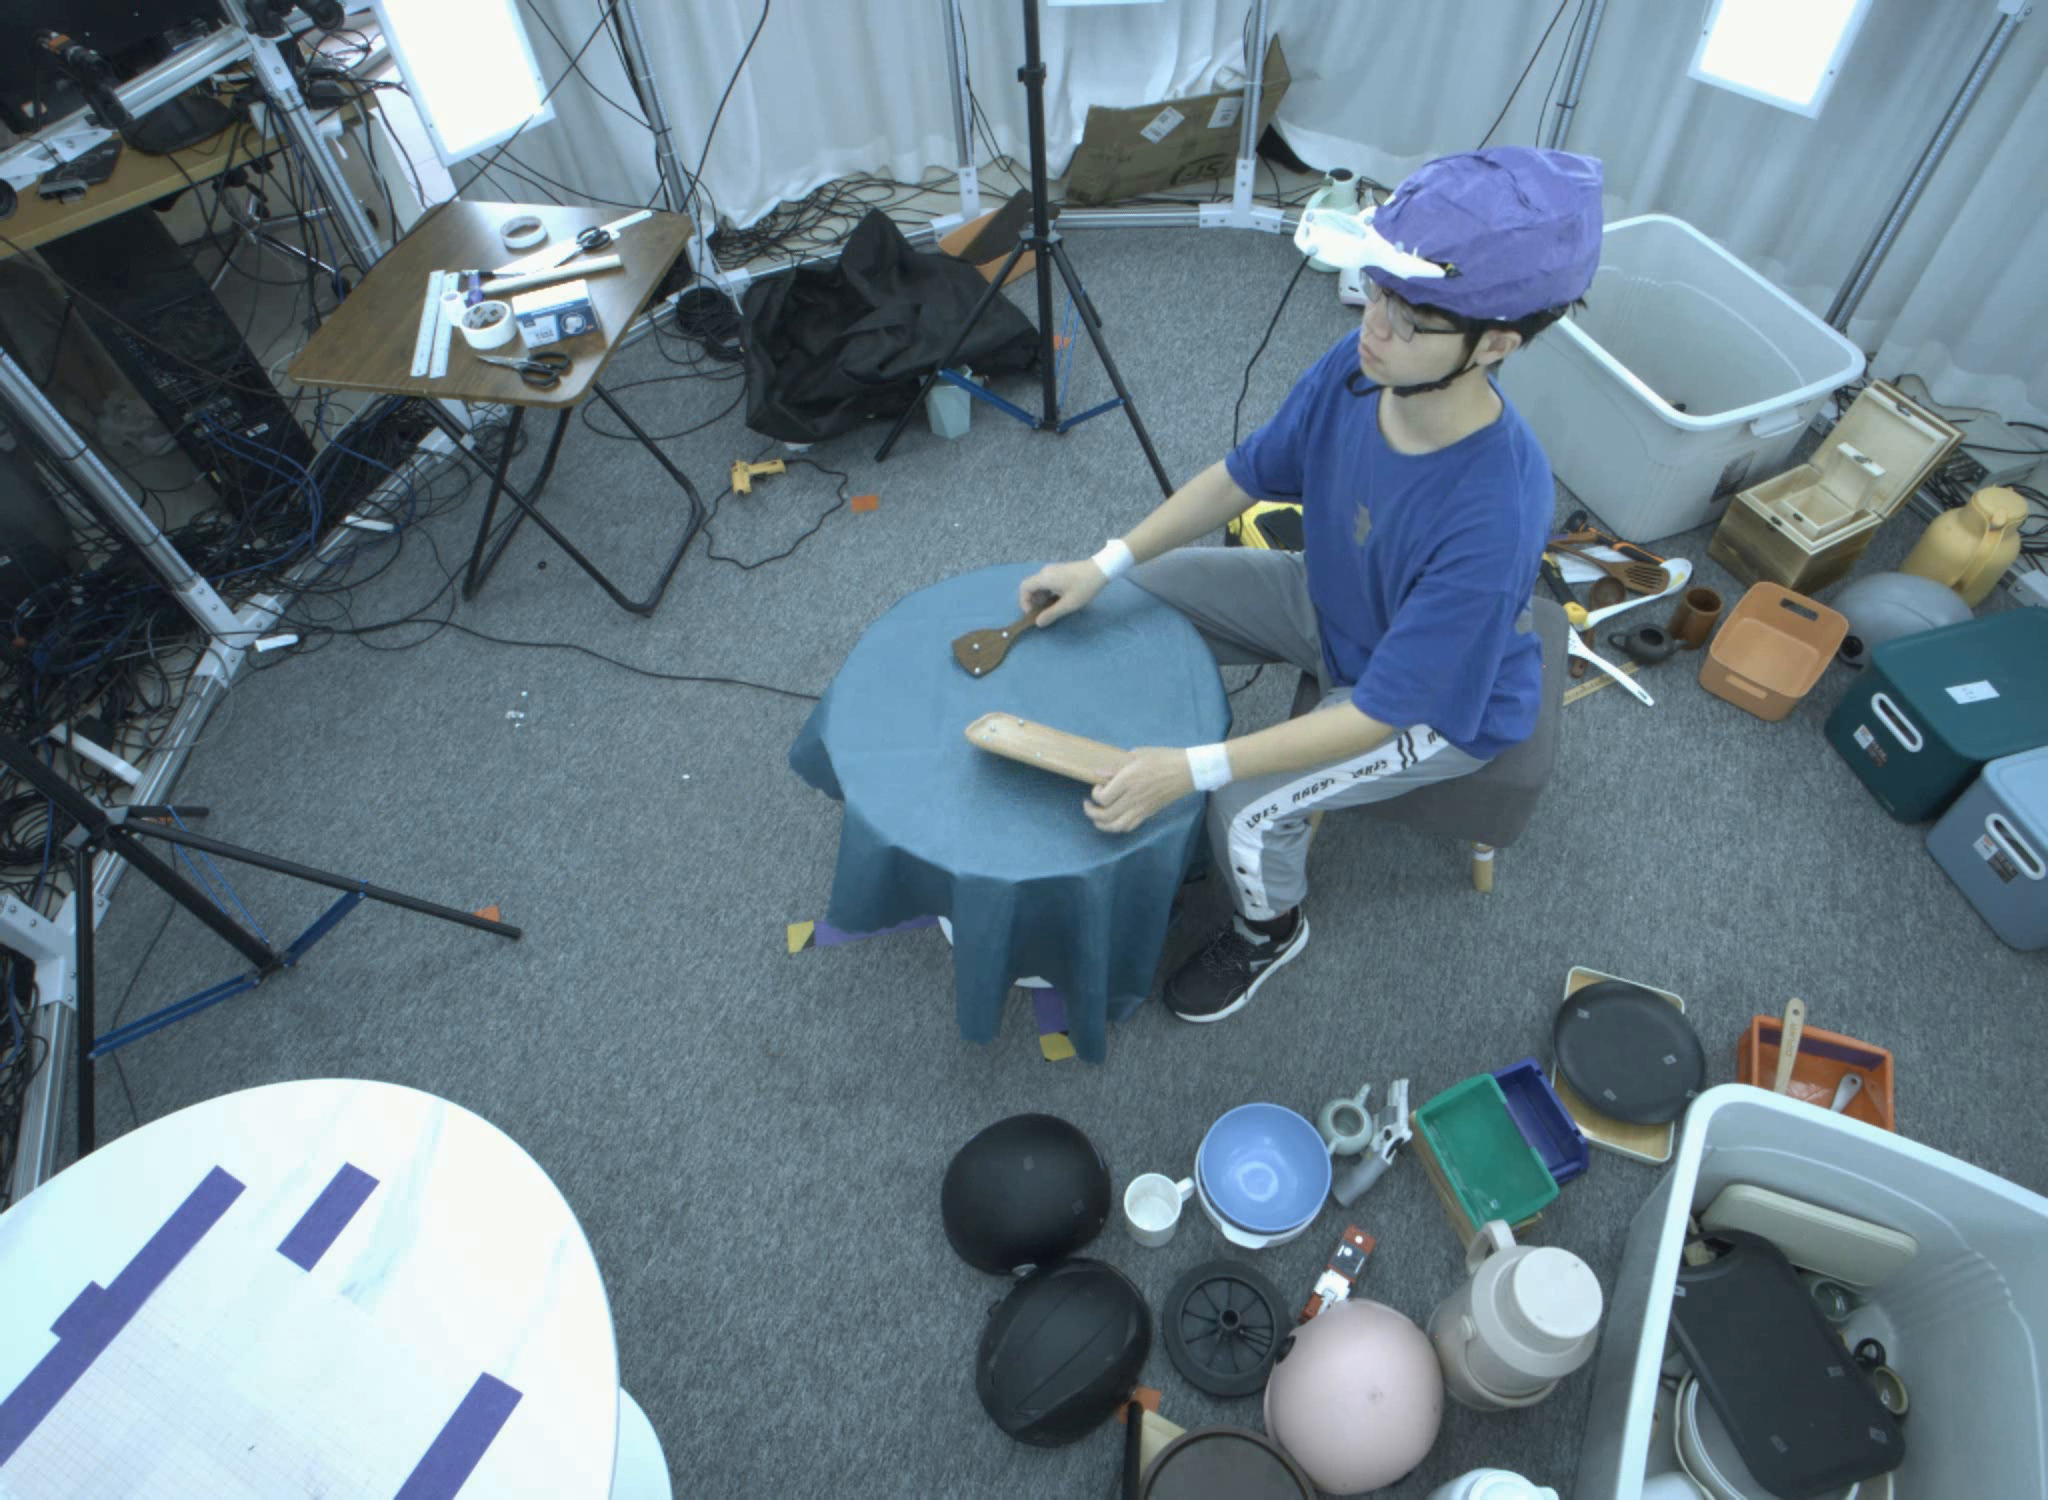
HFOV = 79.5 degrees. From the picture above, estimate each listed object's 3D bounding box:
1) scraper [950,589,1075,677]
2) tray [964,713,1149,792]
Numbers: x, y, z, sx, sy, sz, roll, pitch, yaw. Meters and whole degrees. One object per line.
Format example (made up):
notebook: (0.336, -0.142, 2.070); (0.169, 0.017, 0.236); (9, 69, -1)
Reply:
scraper: (-0.012, -0.187, 1.892); (0.212, 0.011, 0.075); (-33, 73, -14)
tray: (0.045, 0.002, 1.727); (0.248, 0.023, 0.131); (18, 27, 16)
